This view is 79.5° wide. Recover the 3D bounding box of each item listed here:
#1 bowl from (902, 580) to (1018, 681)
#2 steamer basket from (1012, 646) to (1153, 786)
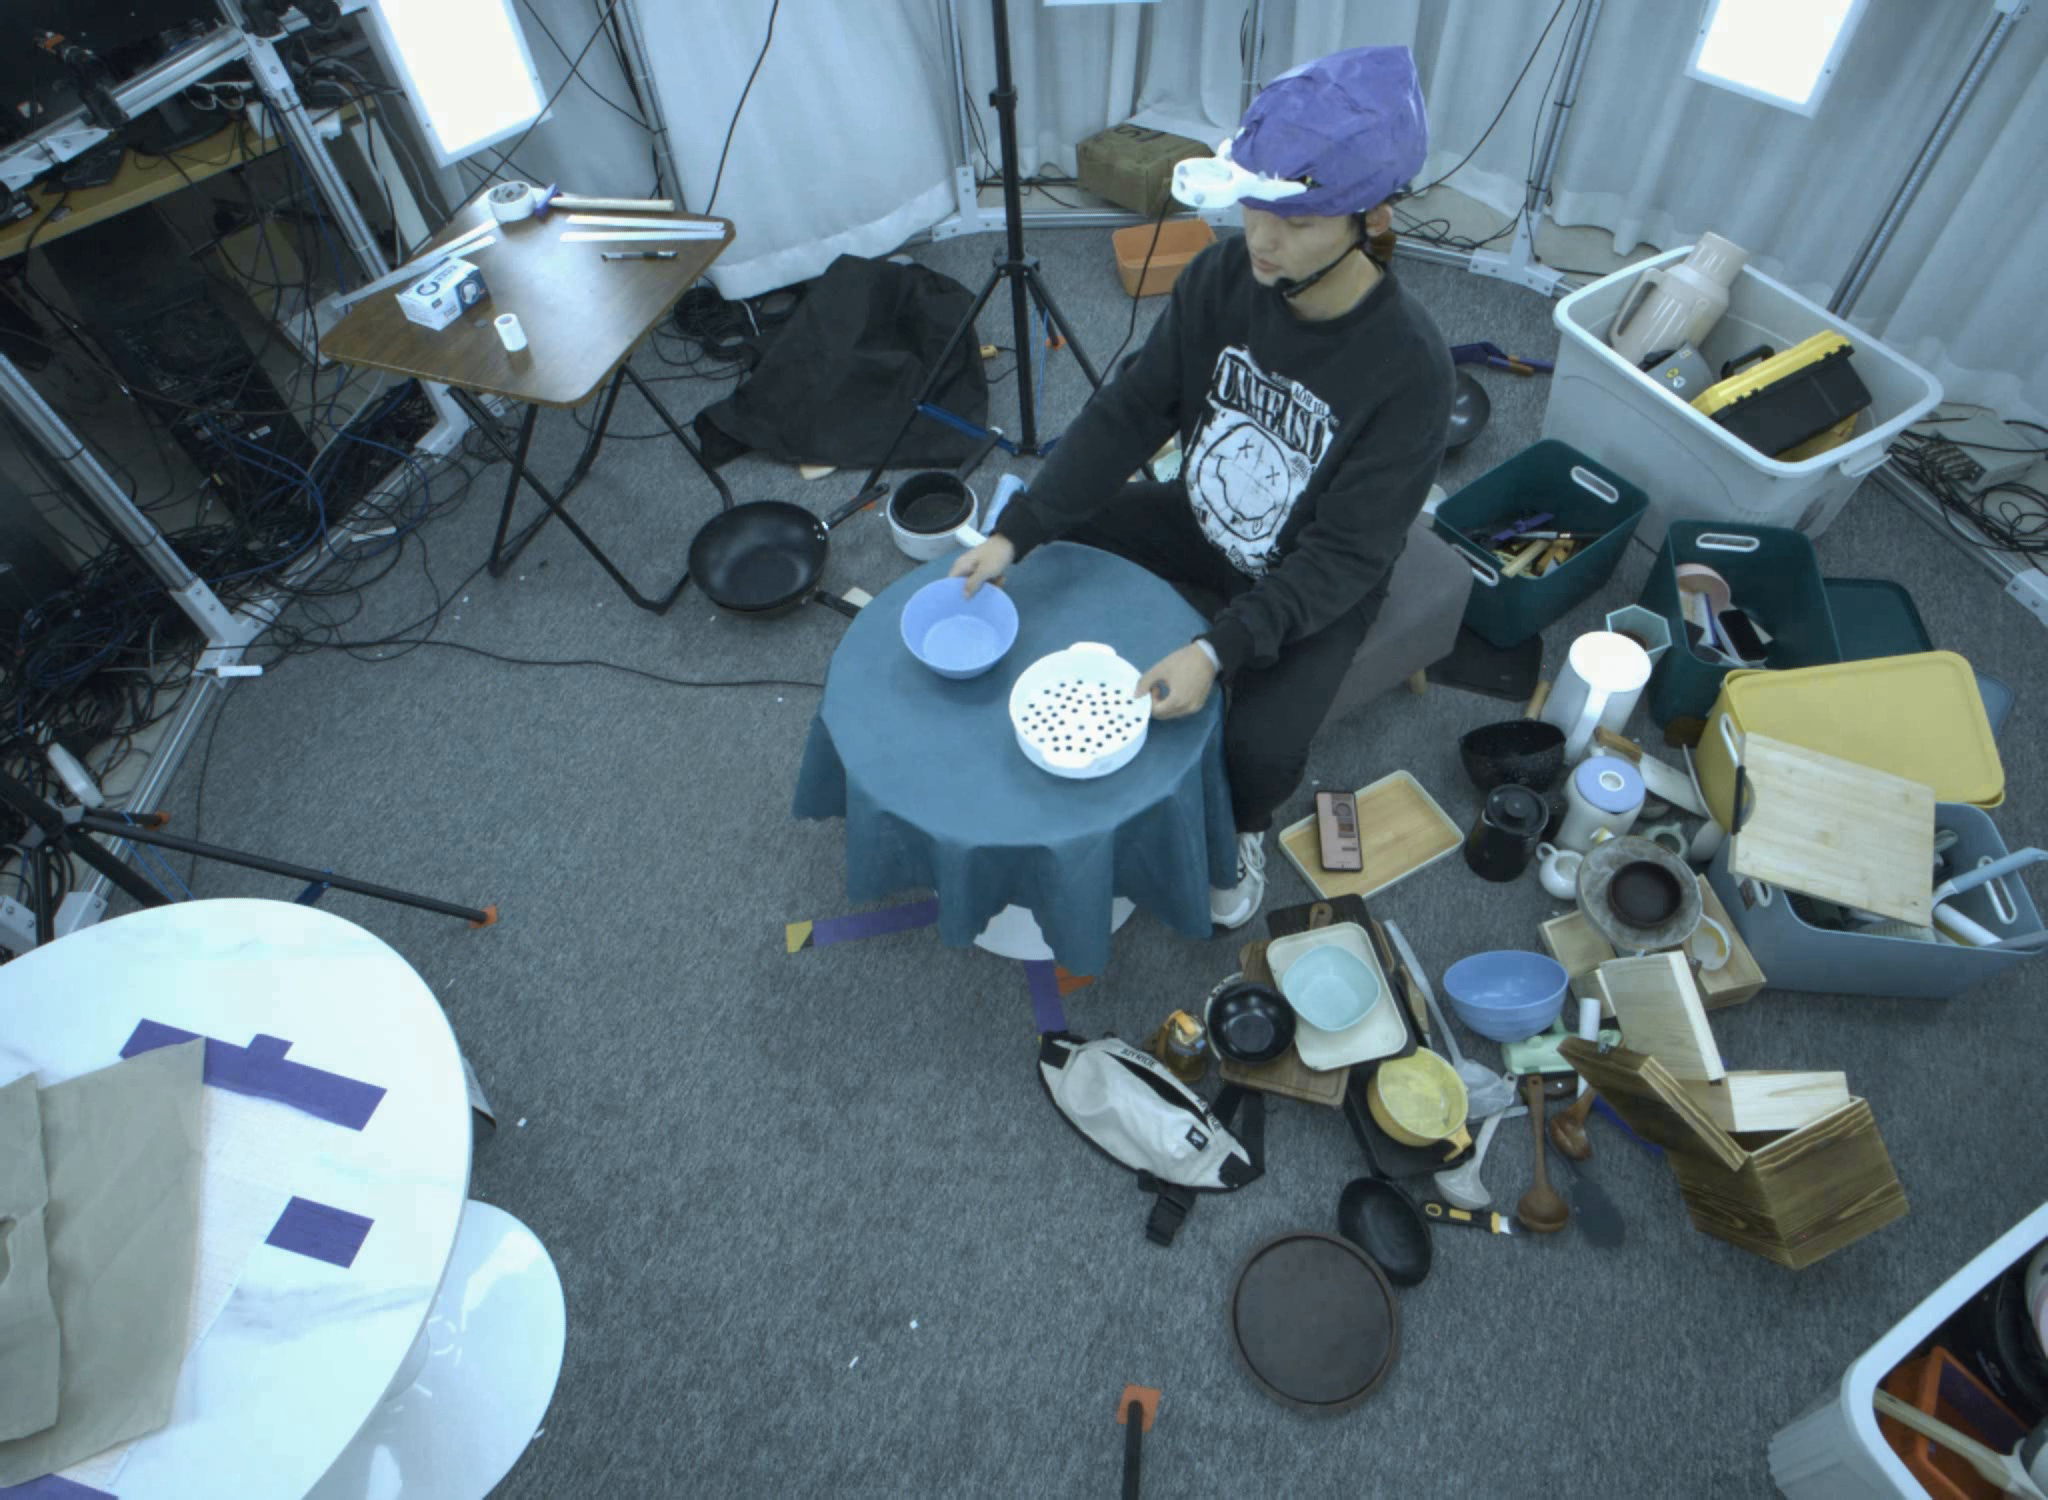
[{"bbox_3d":[-0.097,-0.172,1.872,0.176,0.071,0.174,2,59,-2],"label":"bowl"},{"bbox_3d":[0.085,-0.043,1.783,0.201,0.070,0.229,8,58,8],"label":"steamer basket"}]
